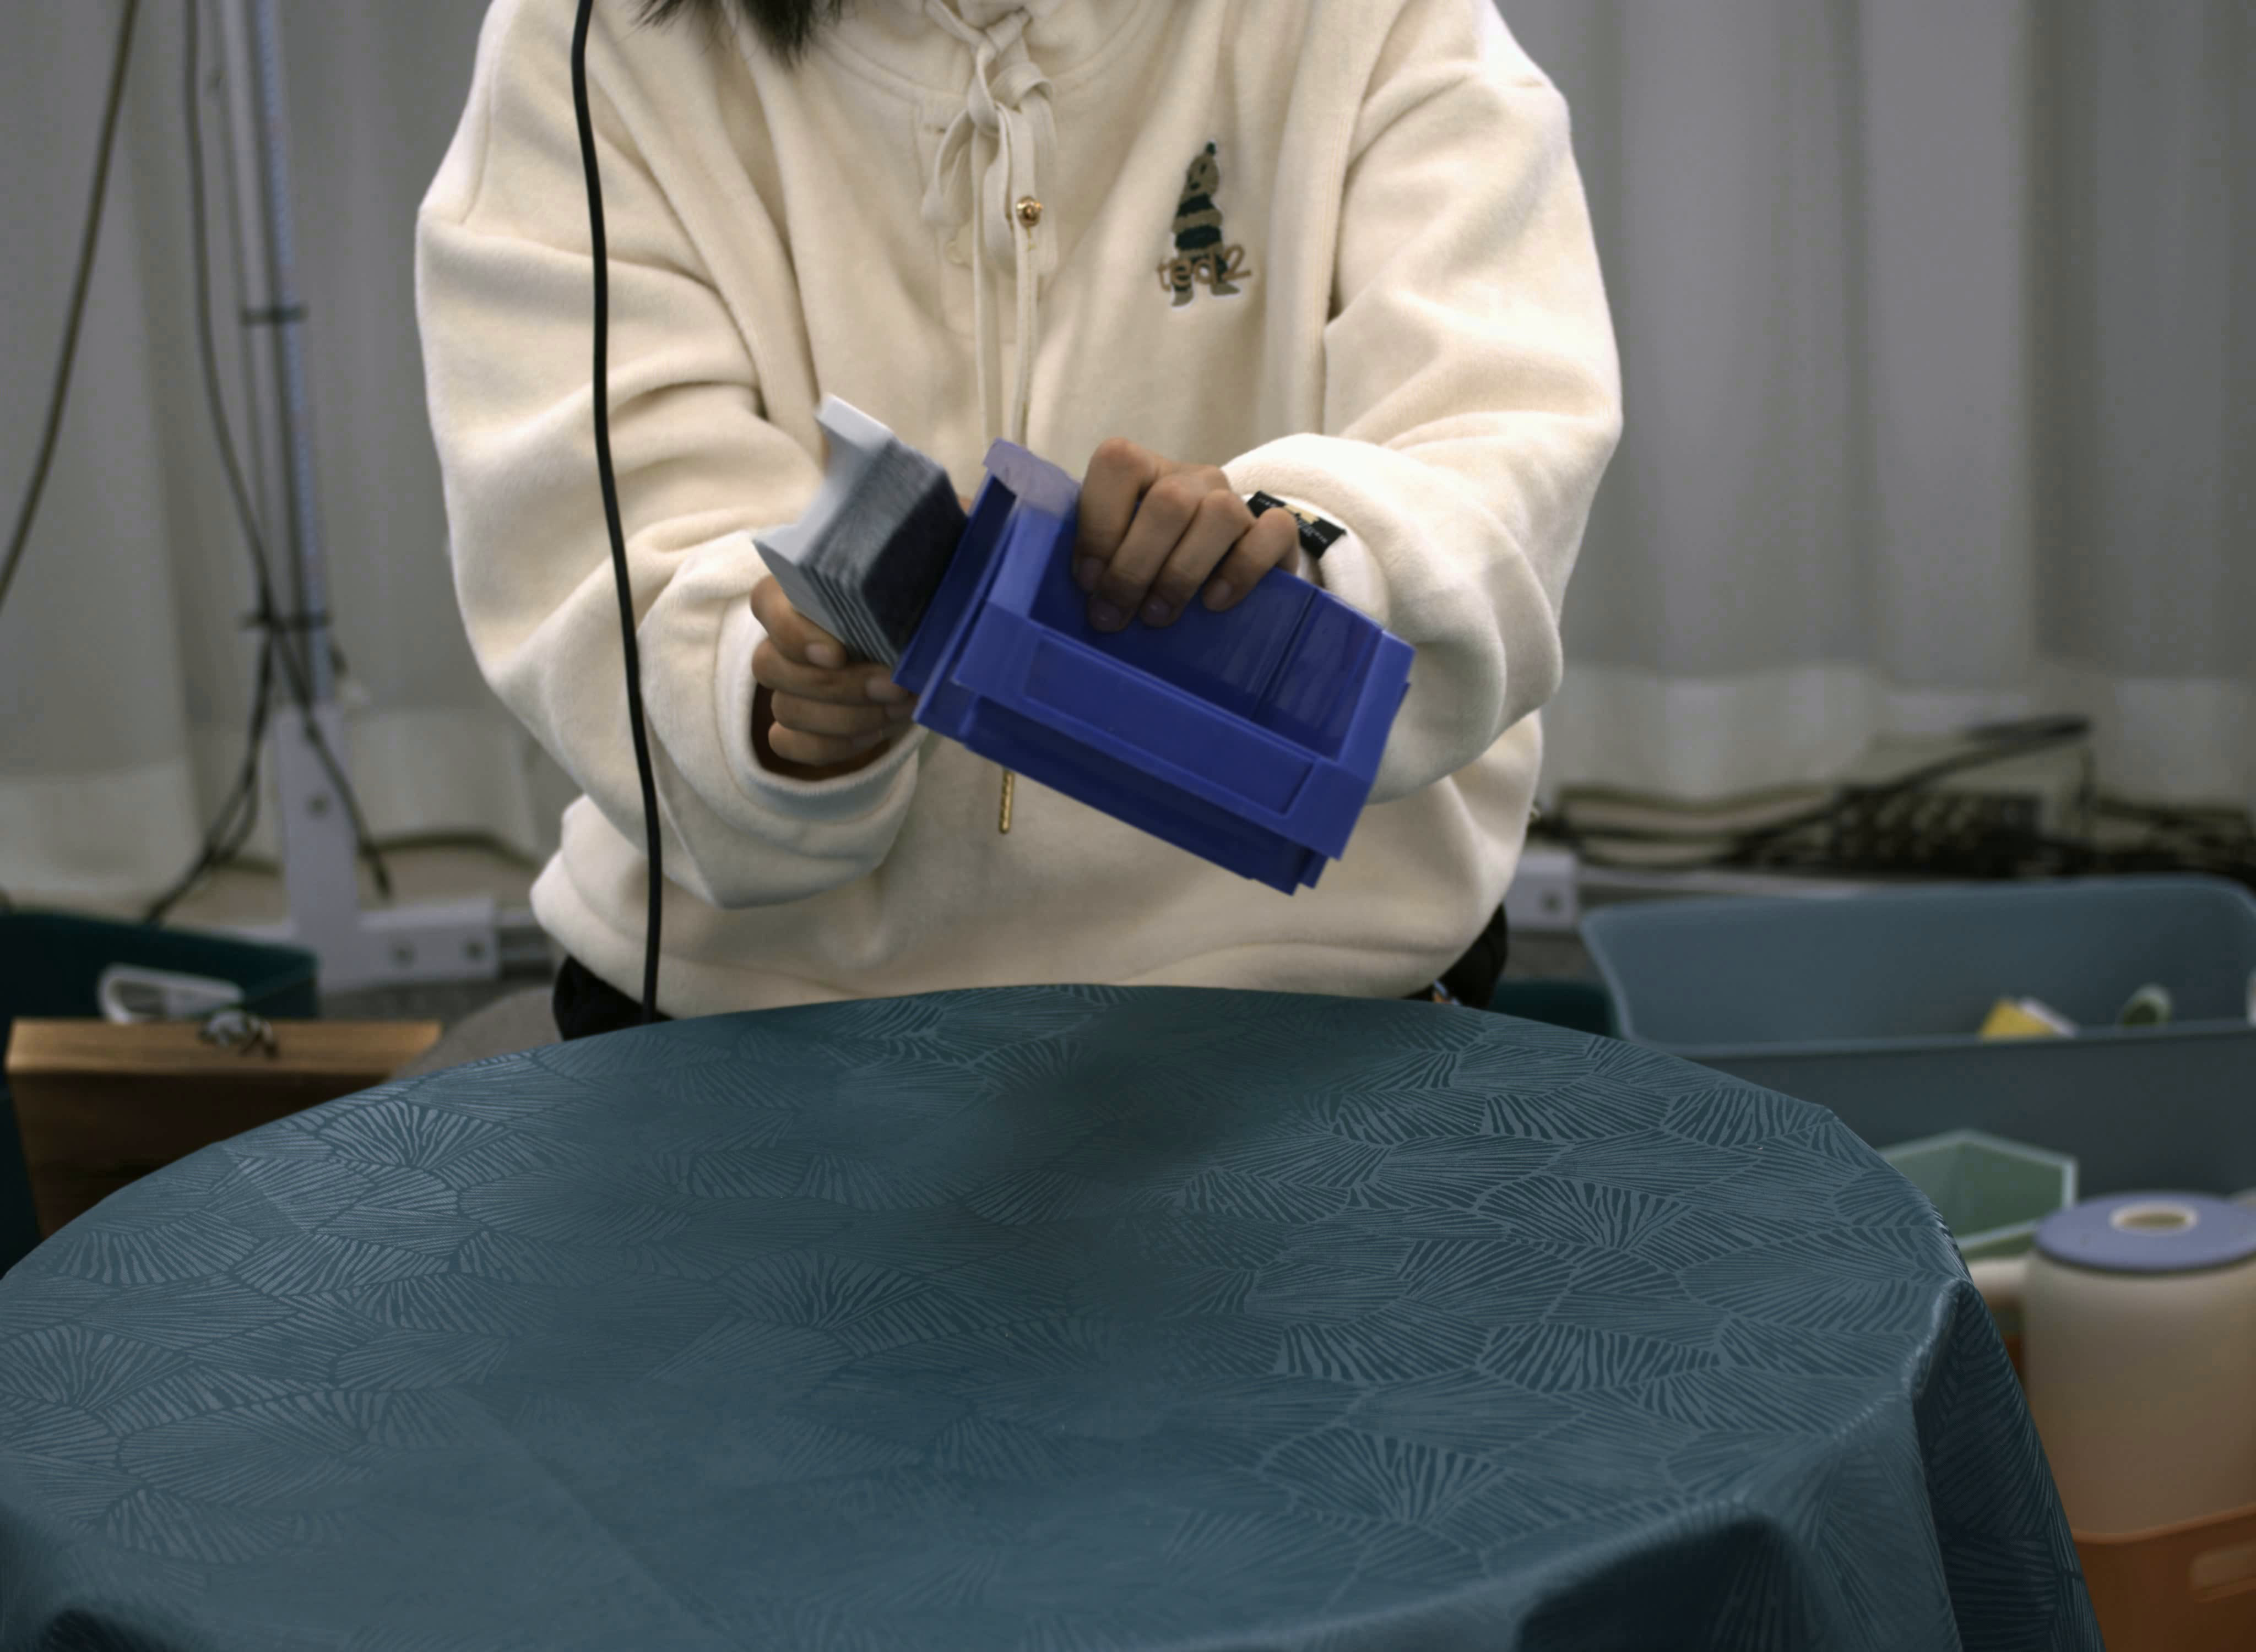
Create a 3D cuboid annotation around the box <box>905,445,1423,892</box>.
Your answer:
[{"bbox_3d":[0.010,-0.046,1.585,0.124,0.082,0.180,25,2,-7],"label":"box"}]

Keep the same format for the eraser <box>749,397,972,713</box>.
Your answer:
[{"bbox_3d":[-0.077,-0.080,1.671,0.046,0.050,0.133,33,-10,10],"label":"eraser"}]
